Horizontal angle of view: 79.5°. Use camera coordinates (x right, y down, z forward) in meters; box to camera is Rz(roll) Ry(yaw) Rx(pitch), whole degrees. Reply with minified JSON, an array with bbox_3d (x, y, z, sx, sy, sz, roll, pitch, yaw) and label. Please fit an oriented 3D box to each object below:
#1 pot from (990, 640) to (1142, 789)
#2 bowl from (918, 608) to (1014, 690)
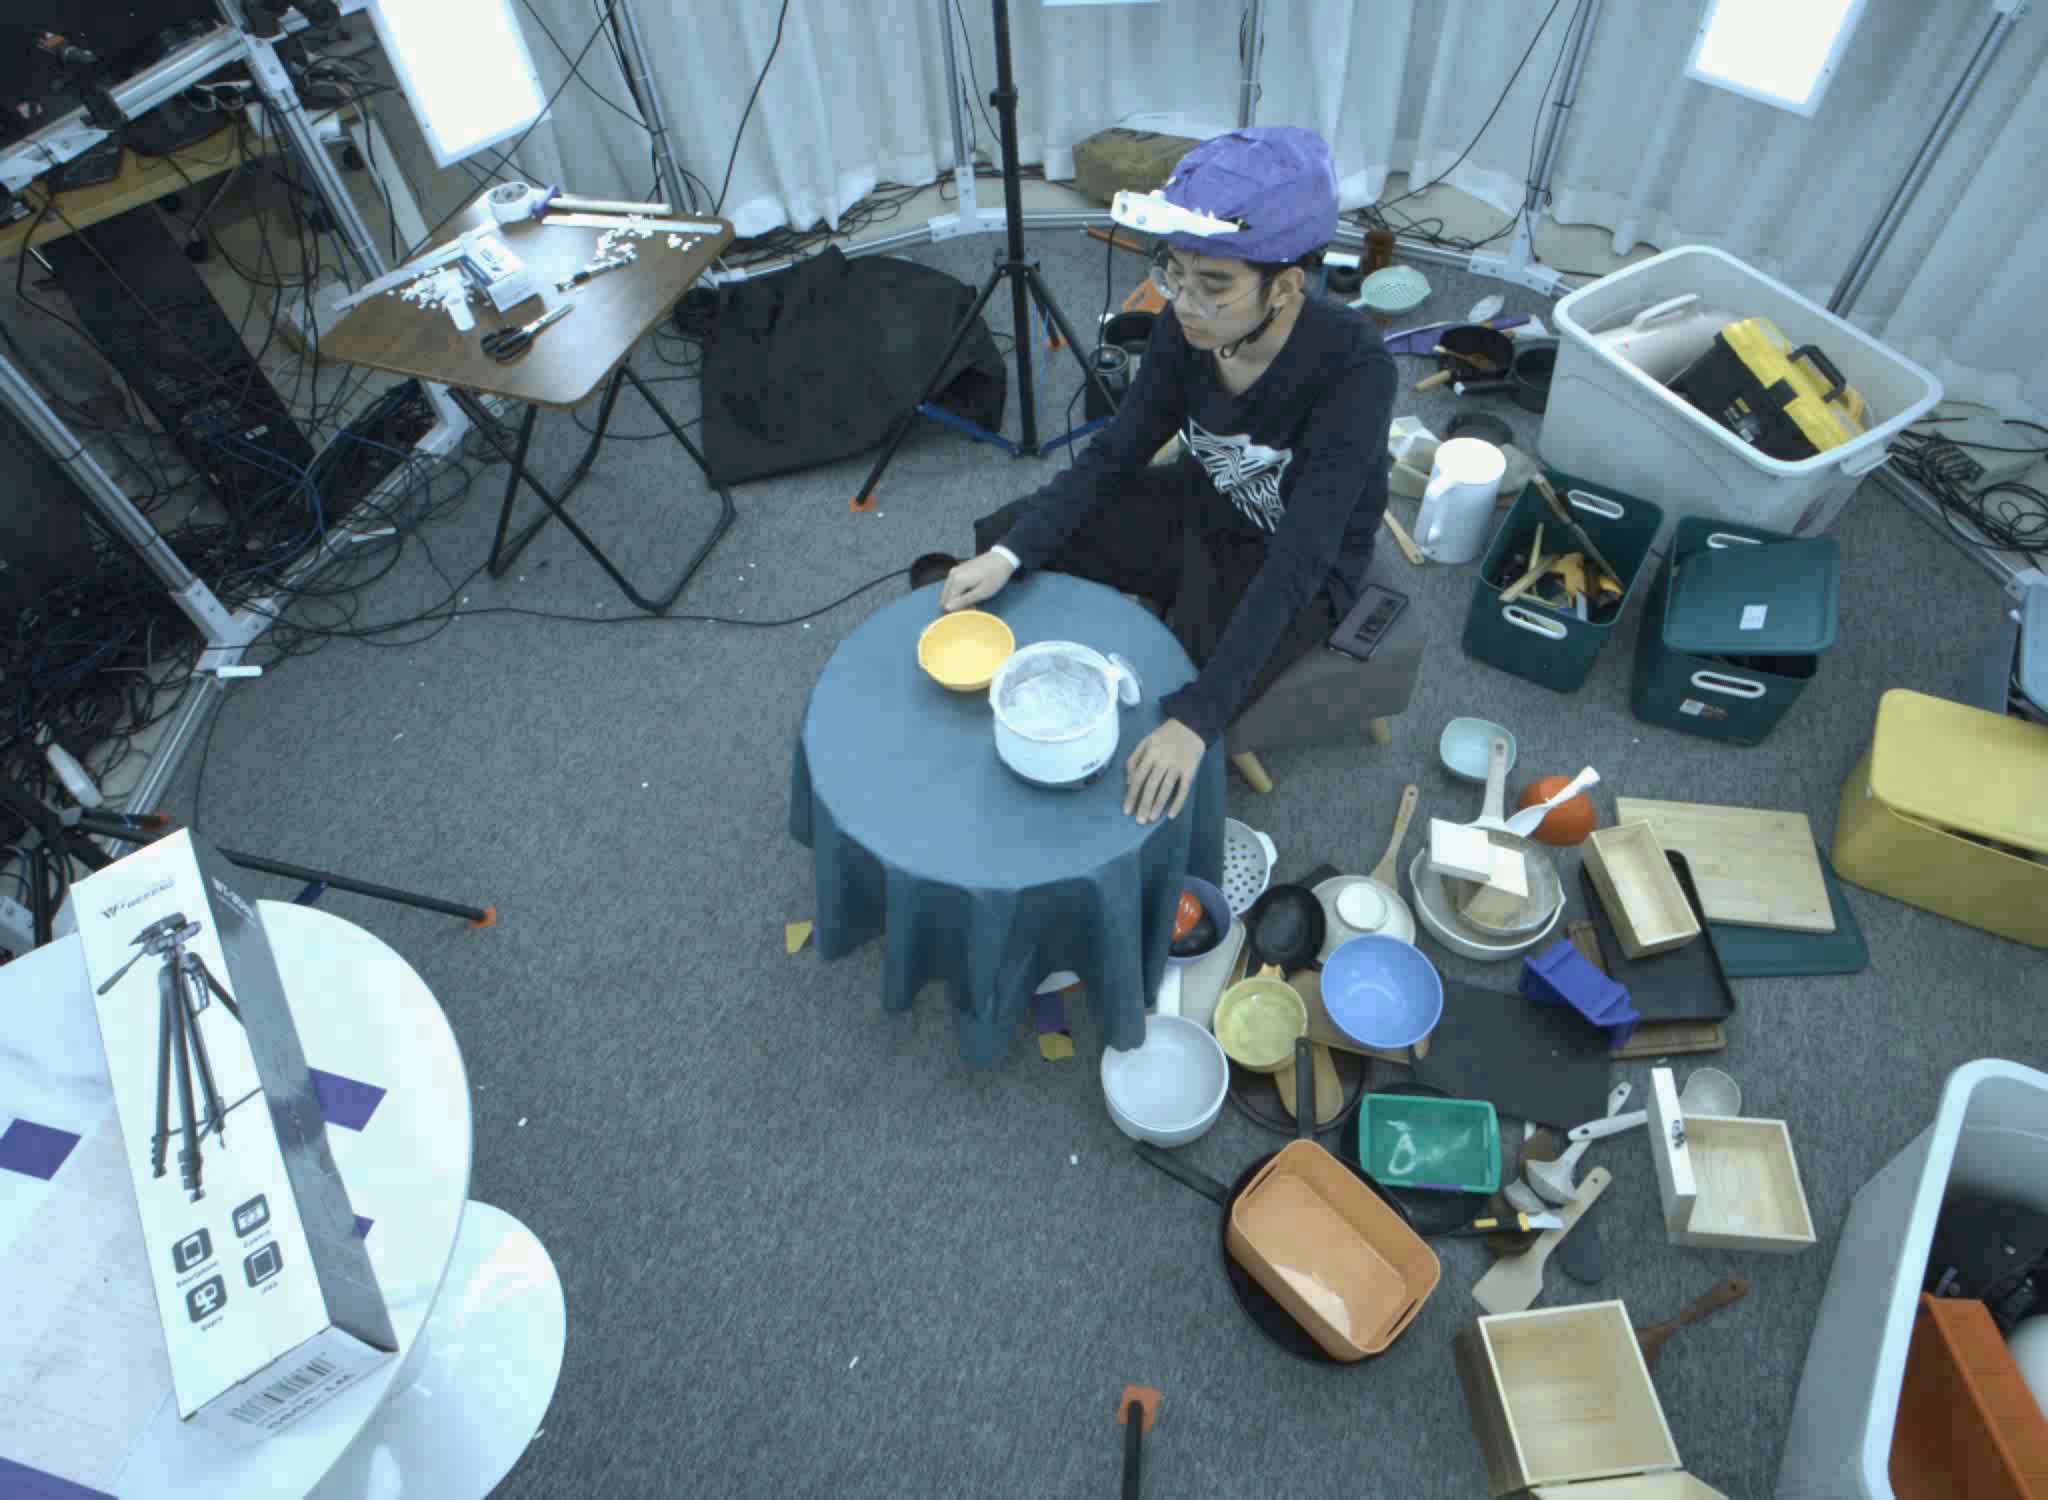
[{"bbox_3d":[0.067,-0.060,1.751,0.235,0.138,0.175,-31,61,-18],"label":"pot"},{"bbox_3d":[-0.086,-0.141,1.860,0.145,0.061,0.144,0,56,1],"label":"bowl"}]
